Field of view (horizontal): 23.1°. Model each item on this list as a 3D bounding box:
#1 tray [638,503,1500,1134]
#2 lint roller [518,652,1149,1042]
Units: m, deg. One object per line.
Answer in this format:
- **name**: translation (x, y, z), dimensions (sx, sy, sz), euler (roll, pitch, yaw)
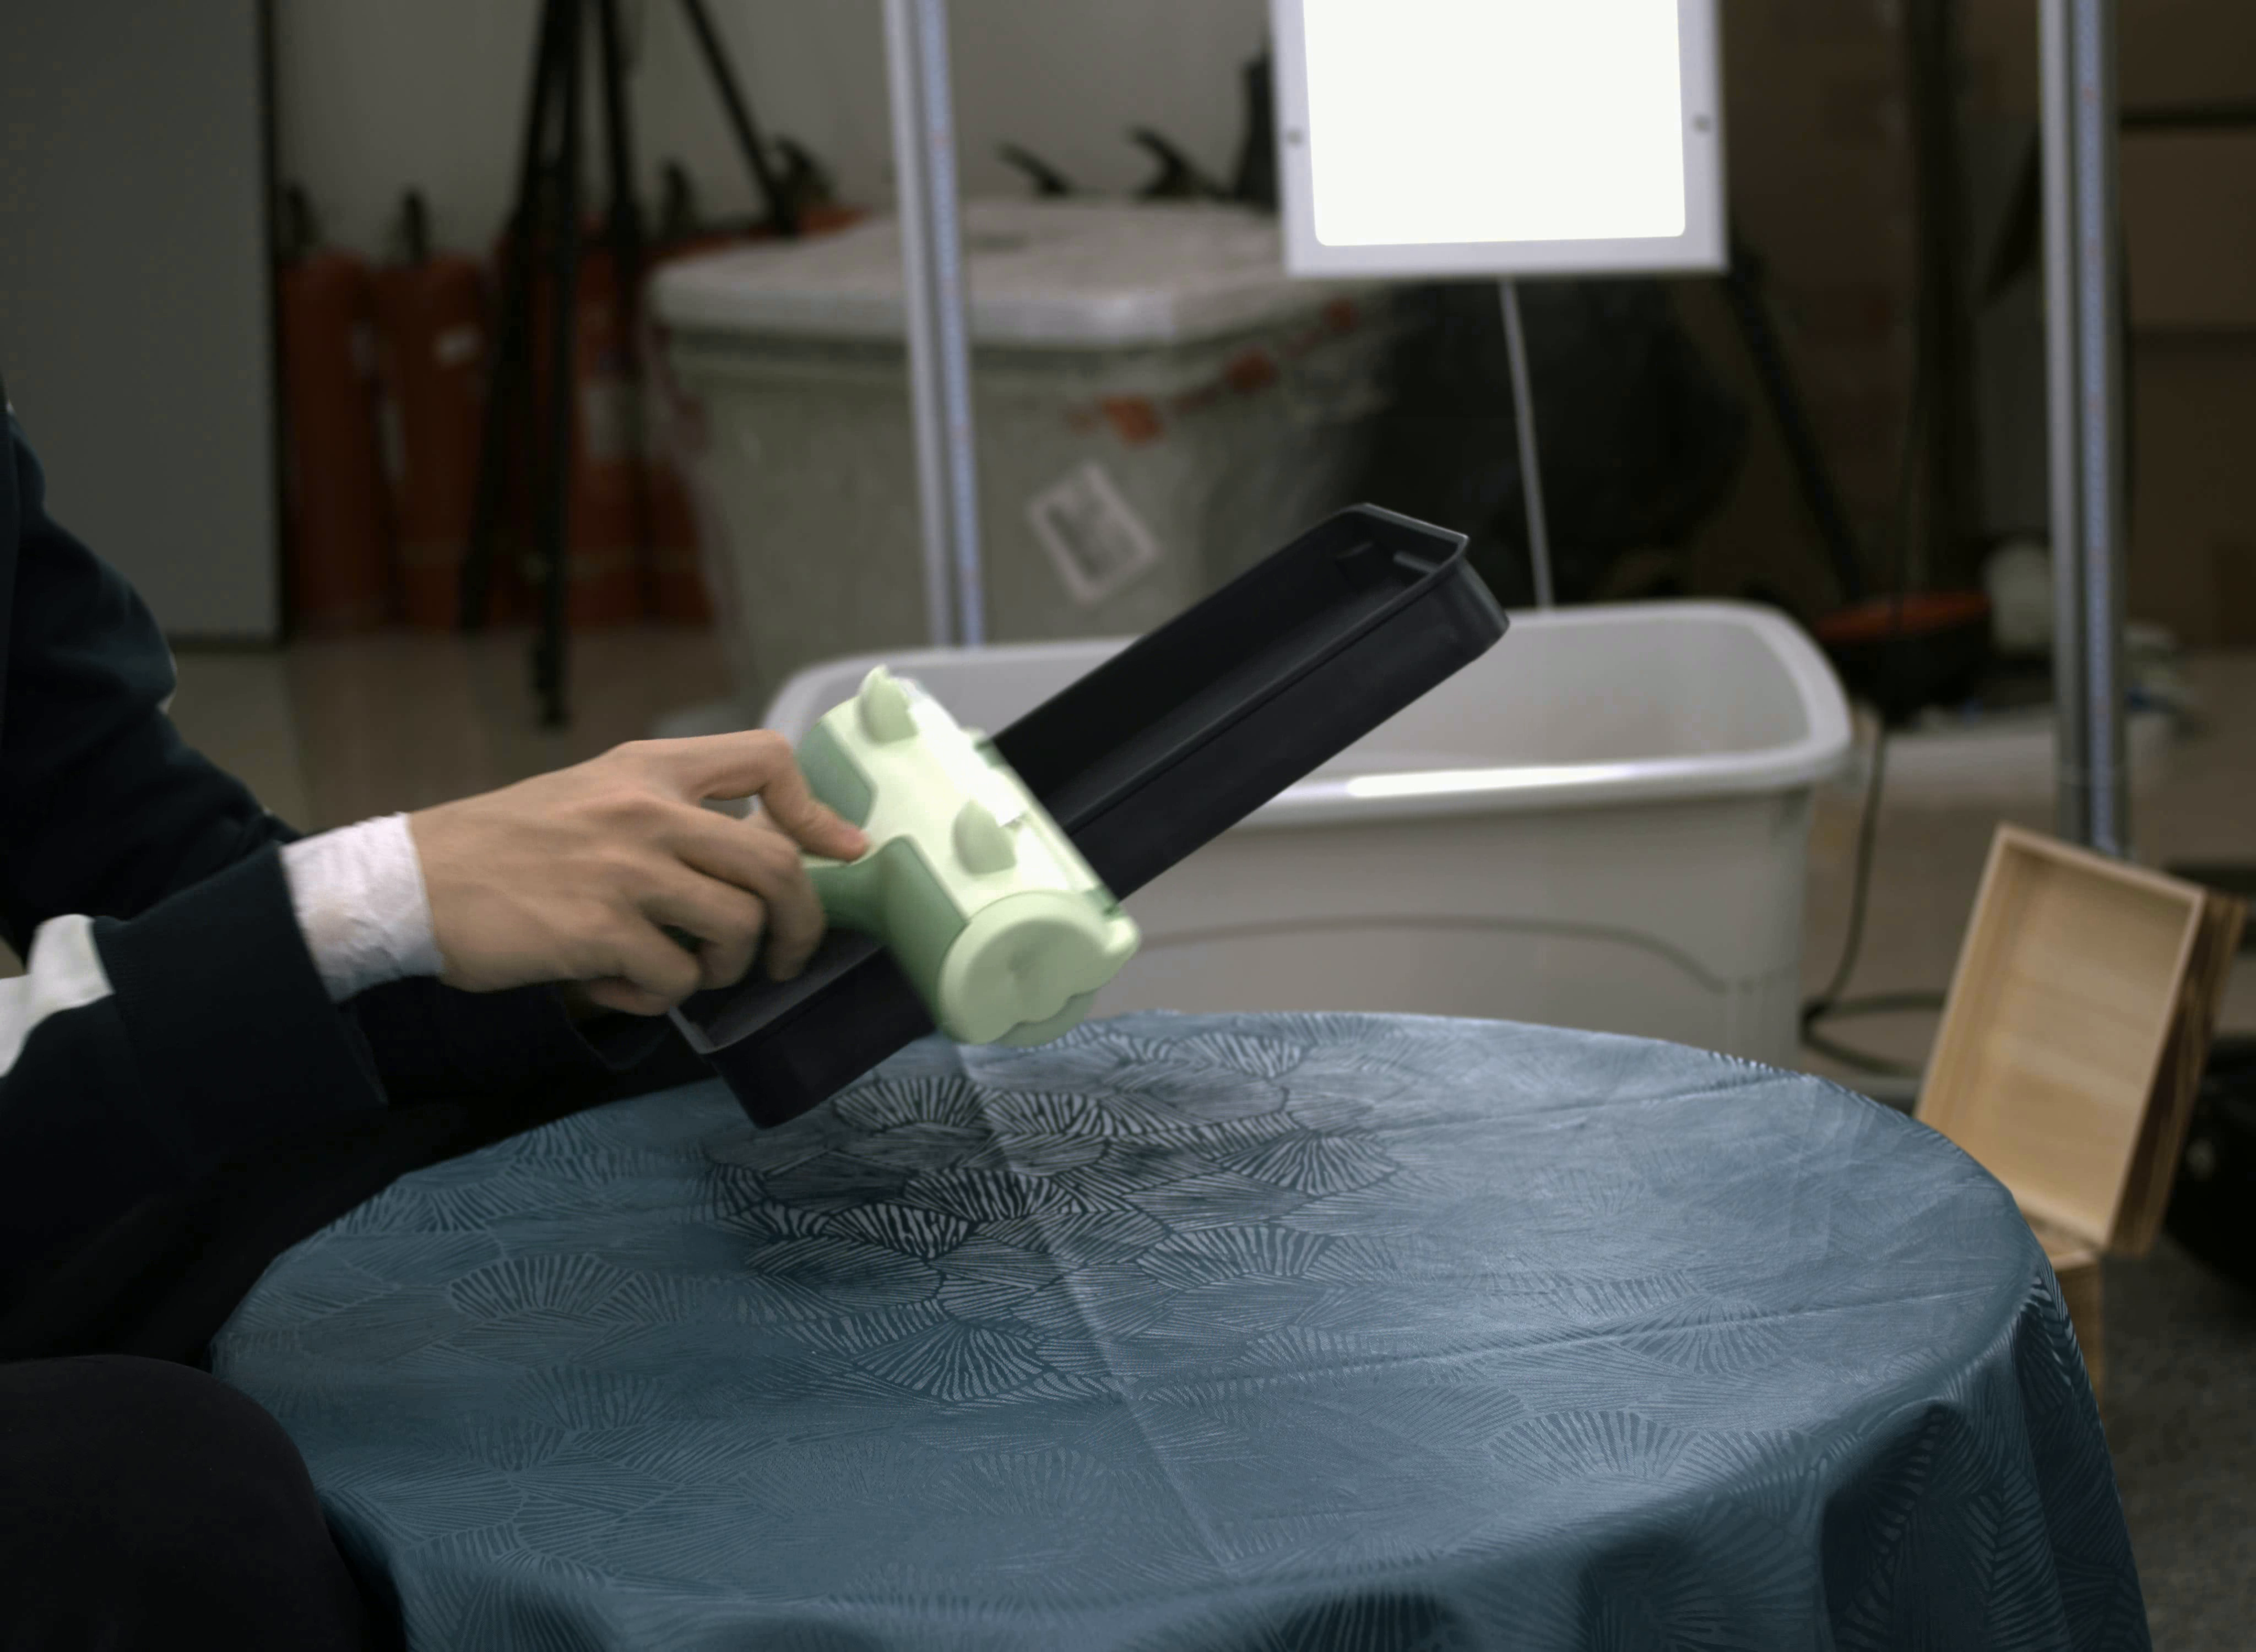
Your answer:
- **tray**: translation (-0.023, -0.007, 1.932), dimensions (0.317, 0.037, 0.185), euler (-34, 13, -3)
- **lint roller**: translation (-0.106, 0.005, 1.781), dimensions (0.180, 0.083, 0.200), euler (-3, 23, -16)
